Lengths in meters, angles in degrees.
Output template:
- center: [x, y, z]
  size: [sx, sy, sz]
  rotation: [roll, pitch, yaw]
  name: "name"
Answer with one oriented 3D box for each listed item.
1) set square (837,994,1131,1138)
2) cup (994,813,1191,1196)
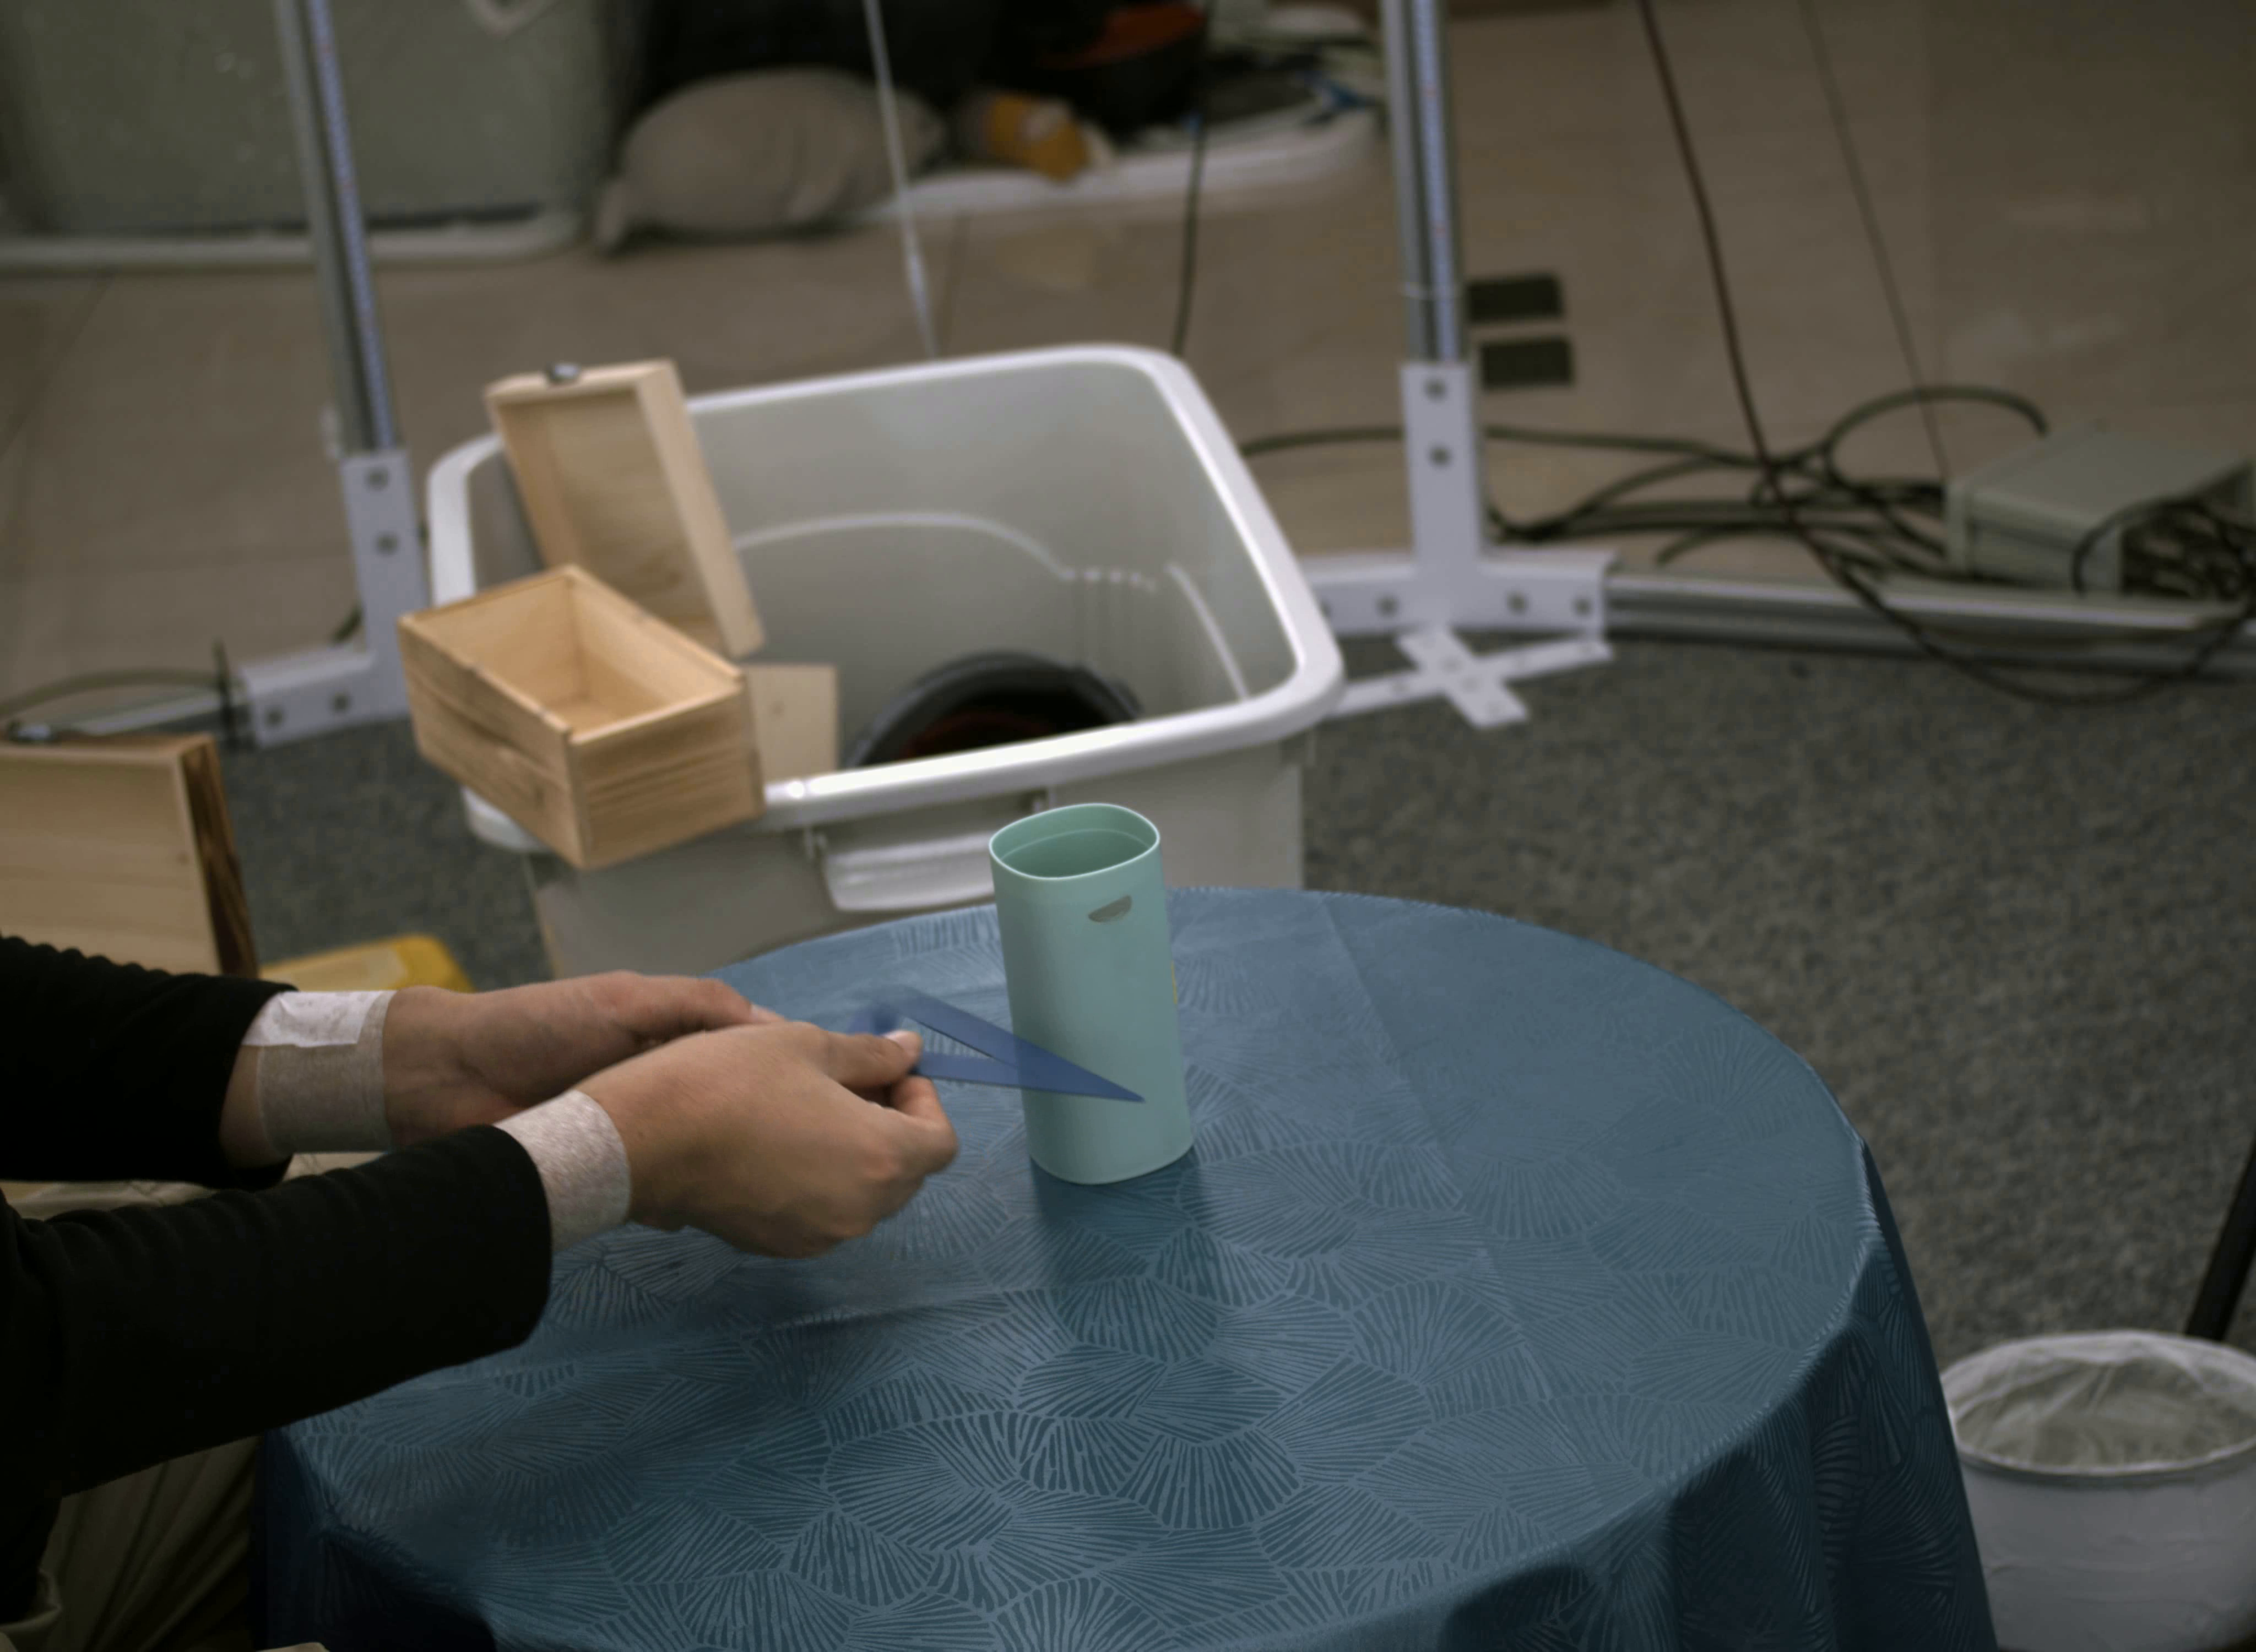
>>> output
- center: [-0.060, 0.094, 2.077]
  size: [0.060, 0.006, 0.130]
  rotation: [-23, 36, -37]
  name: "set square"
- center: [-0.014, 0.068, 2.156]
  size: [0.066, 0.134, 0.066]
  rotation: [-5, 26, 2]
  name: "cup"
